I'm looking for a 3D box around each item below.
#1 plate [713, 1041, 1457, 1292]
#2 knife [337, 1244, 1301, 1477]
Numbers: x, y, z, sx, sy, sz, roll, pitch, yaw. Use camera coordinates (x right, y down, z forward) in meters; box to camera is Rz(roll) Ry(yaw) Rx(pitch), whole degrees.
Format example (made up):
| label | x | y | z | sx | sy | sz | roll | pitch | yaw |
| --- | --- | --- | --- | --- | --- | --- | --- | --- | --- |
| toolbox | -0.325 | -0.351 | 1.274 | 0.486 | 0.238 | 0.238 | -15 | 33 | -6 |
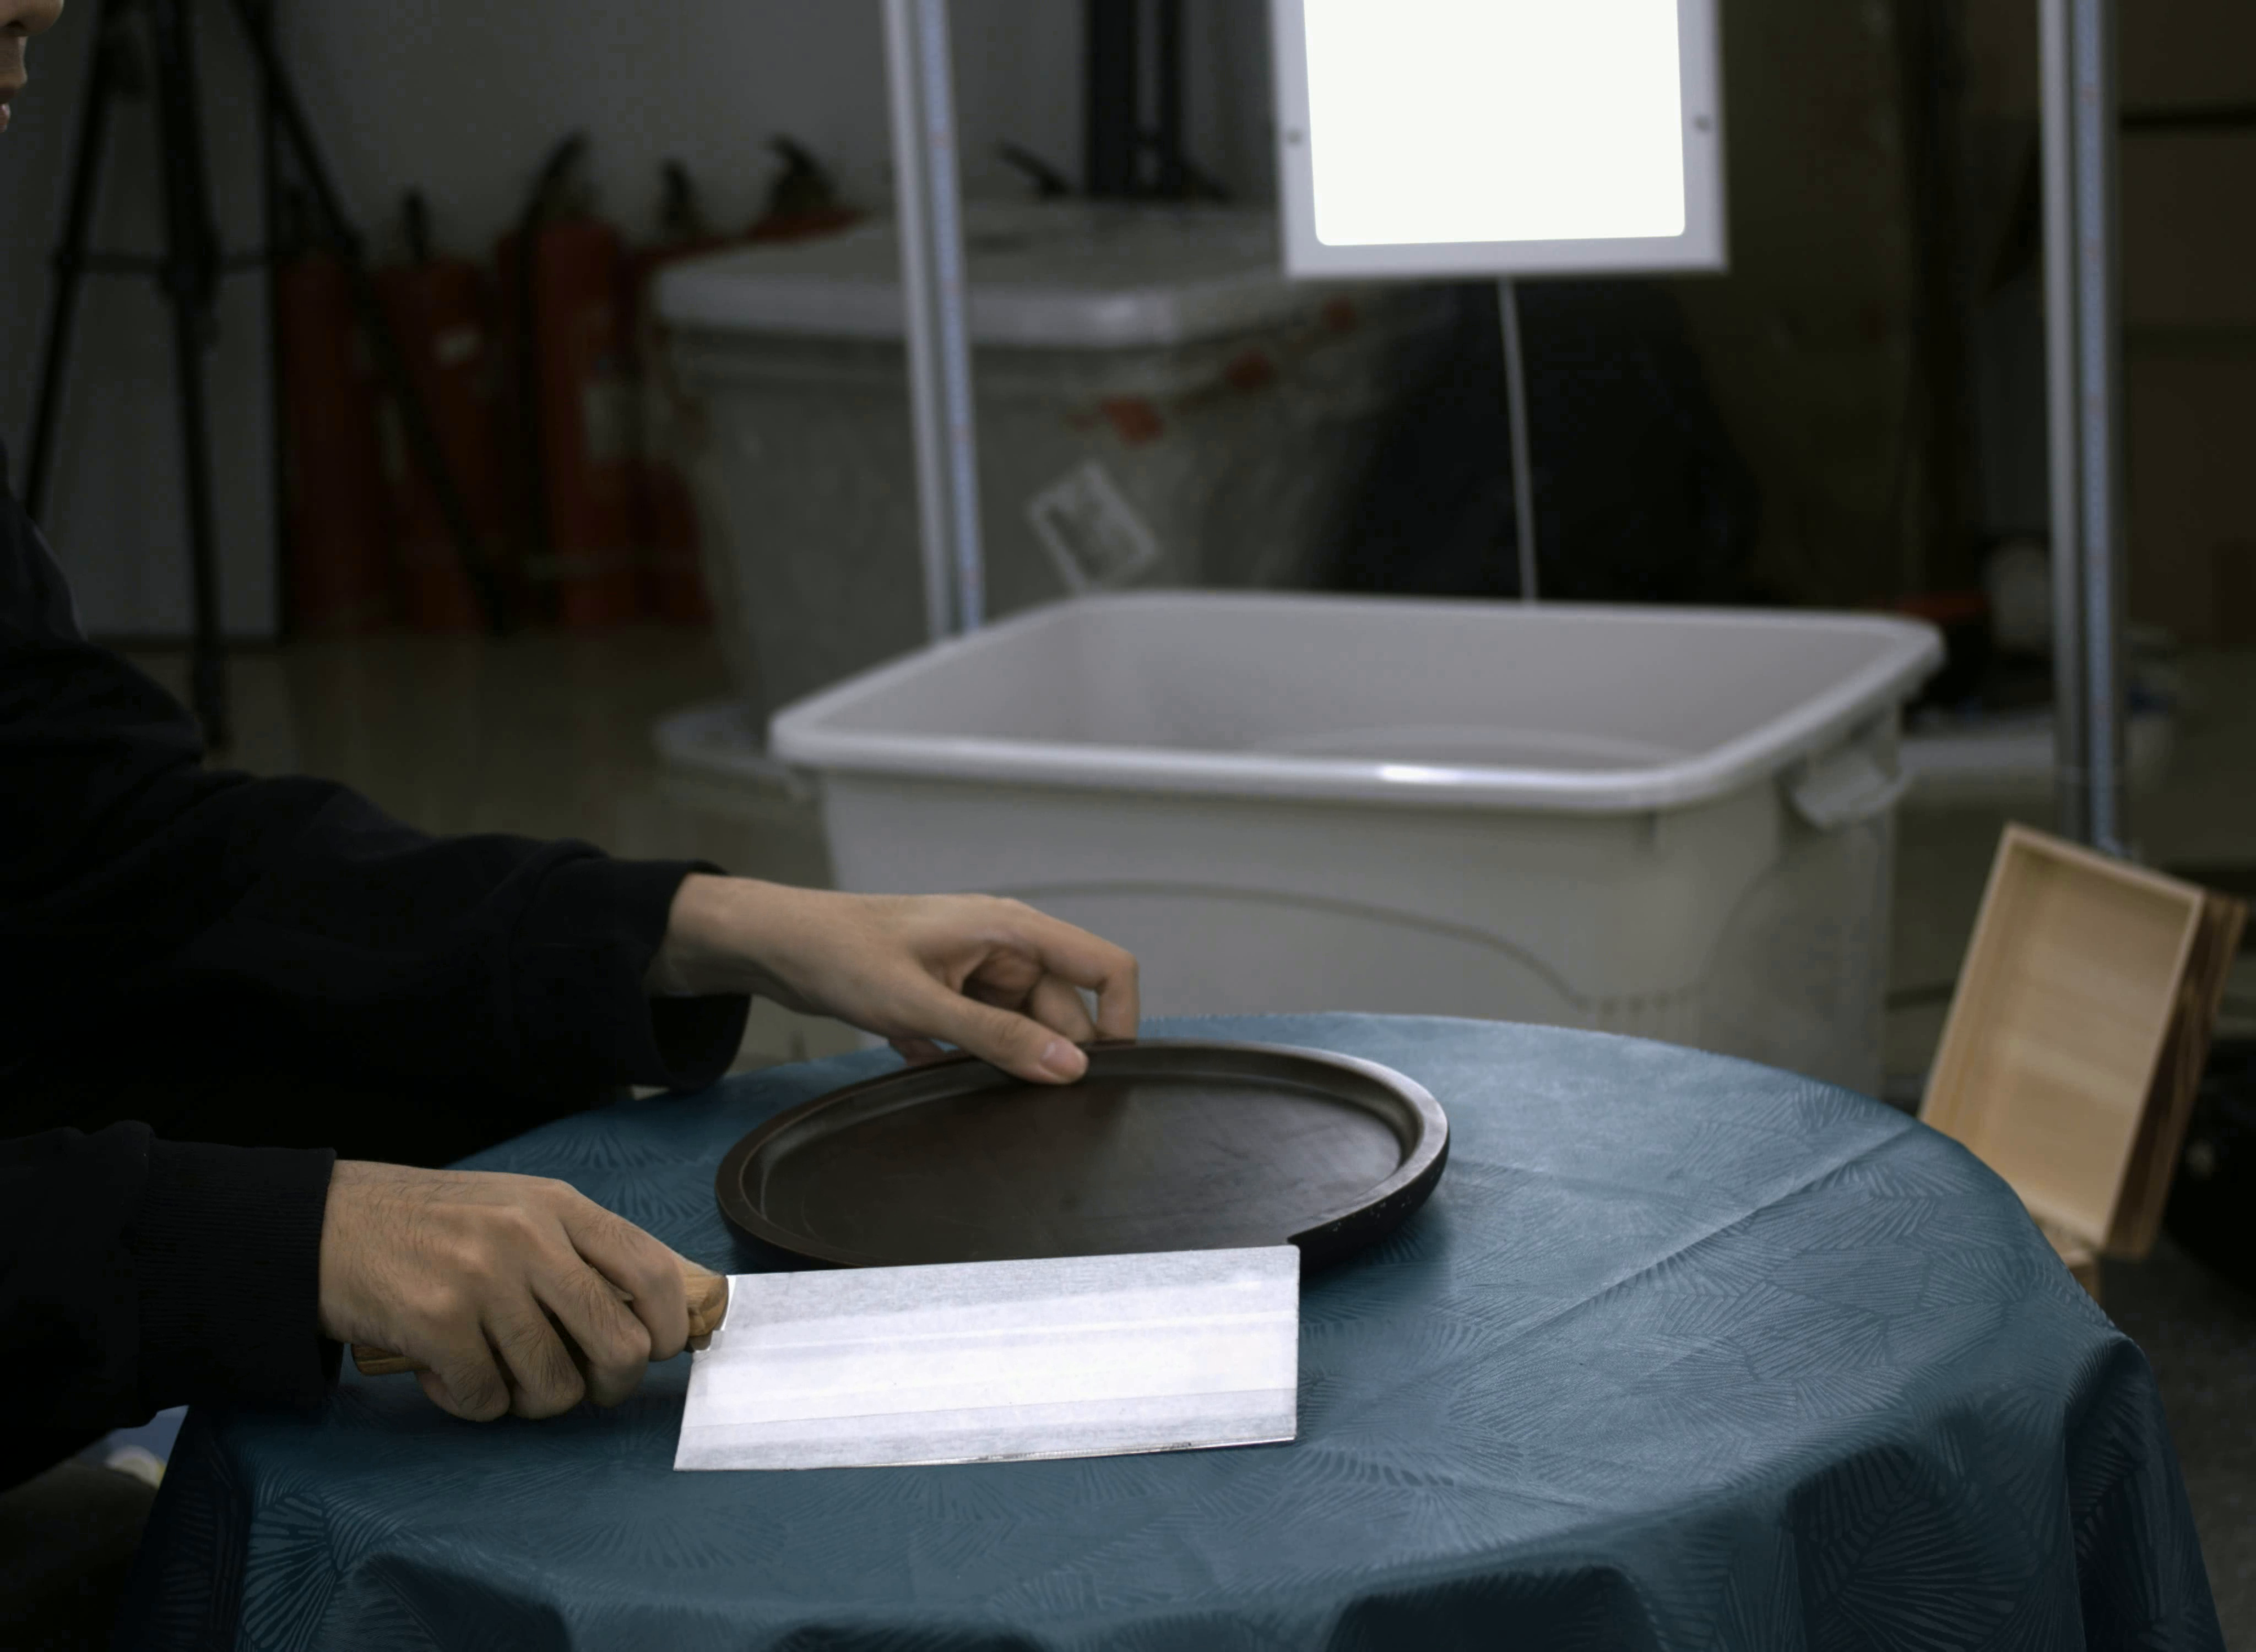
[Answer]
| label | x | y | z | sx | sy | sz | roll | pitch | yaw |
| --- | --- | --- | --- | --- | --- | --- | --- | --- | --- |
| plate | -0.013 | 0.119 | 1.874 | 0.254 | 0.029 | 0.254 | -5 | 16 | 0 |
| knife | -0.098 | 0.166 | 1.699 | 0.307 | 0.021 | 0.092 | -4 | 36 | 8 |
